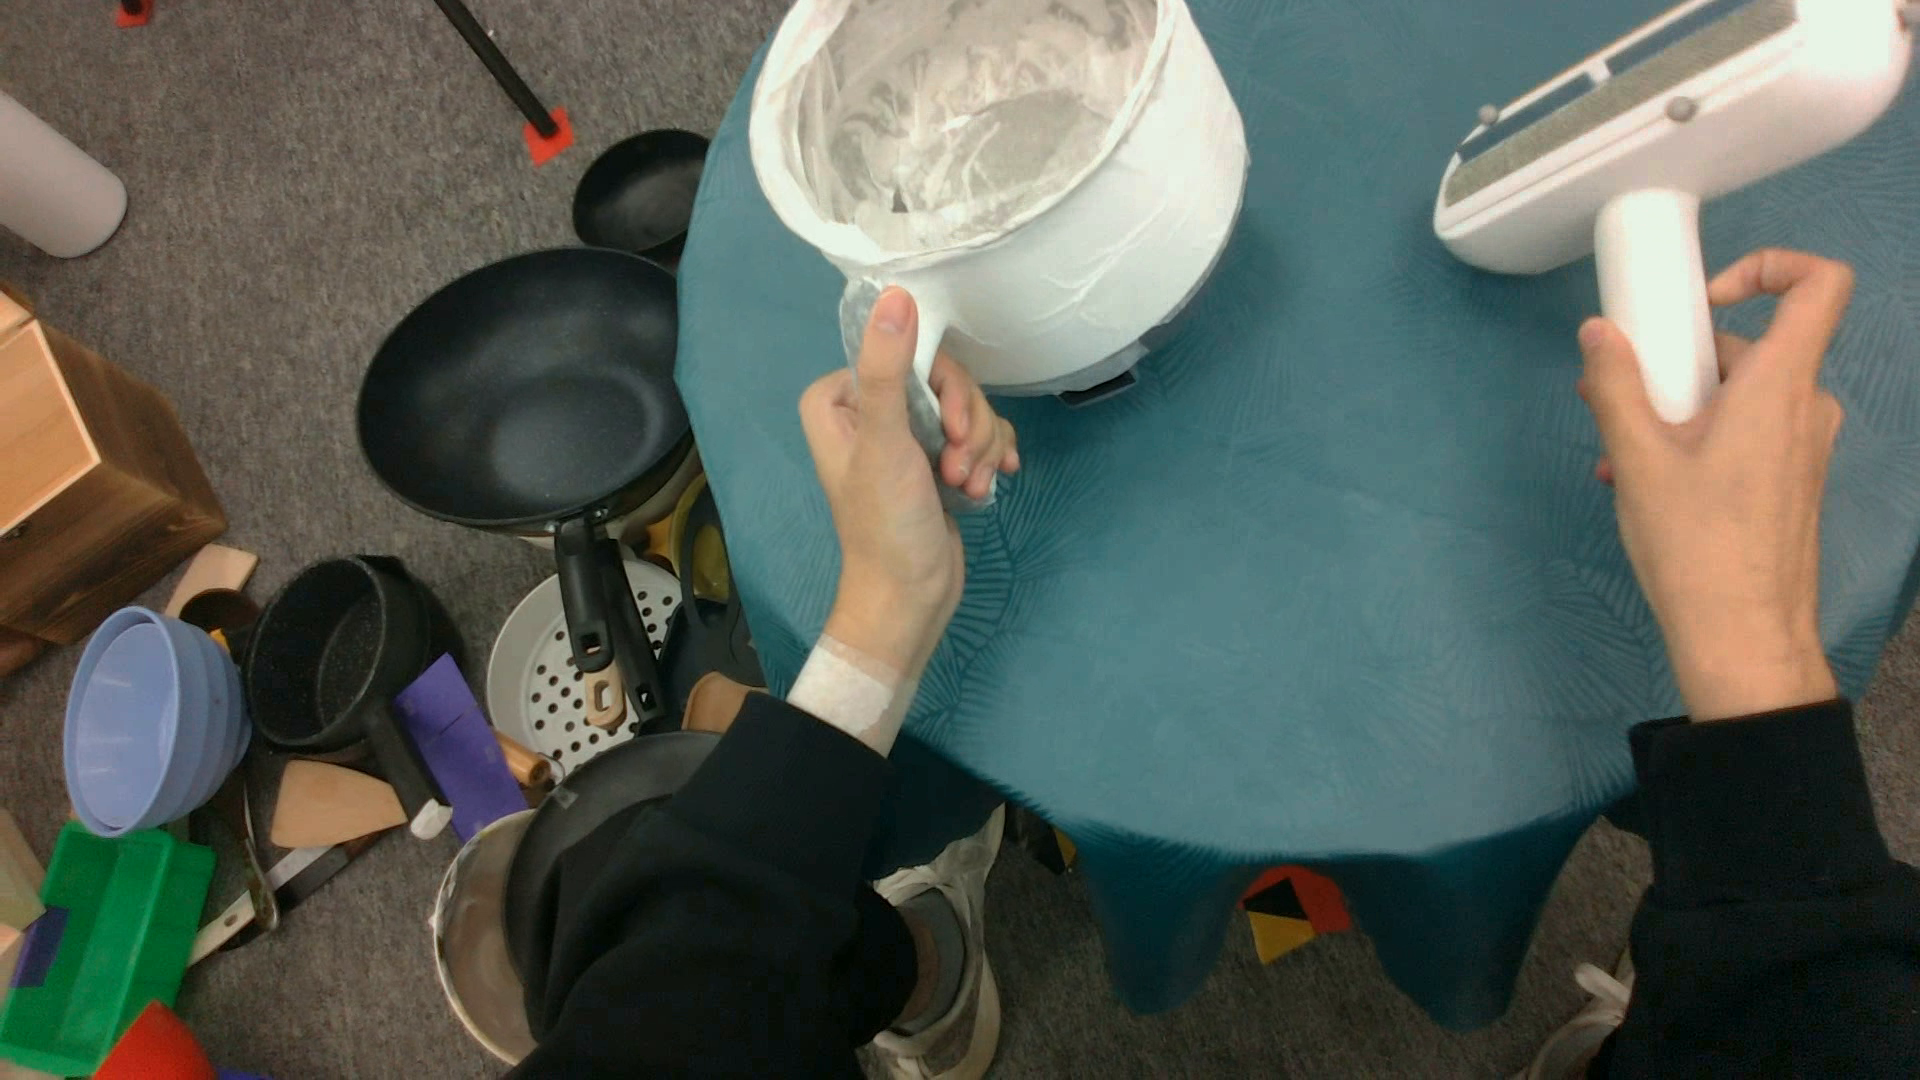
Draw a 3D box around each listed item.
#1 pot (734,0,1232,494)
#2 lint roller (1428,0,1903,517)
[{"bbox_3d":[0.008,-0.142,0.565,0.178,0.136,0.234,9,73,30],"label":"pot"},{"bbox_3d":[0.252,-0.107,0.518,0.074,0.192,0.192,14,81,-22],"label":"lint roller"}]
